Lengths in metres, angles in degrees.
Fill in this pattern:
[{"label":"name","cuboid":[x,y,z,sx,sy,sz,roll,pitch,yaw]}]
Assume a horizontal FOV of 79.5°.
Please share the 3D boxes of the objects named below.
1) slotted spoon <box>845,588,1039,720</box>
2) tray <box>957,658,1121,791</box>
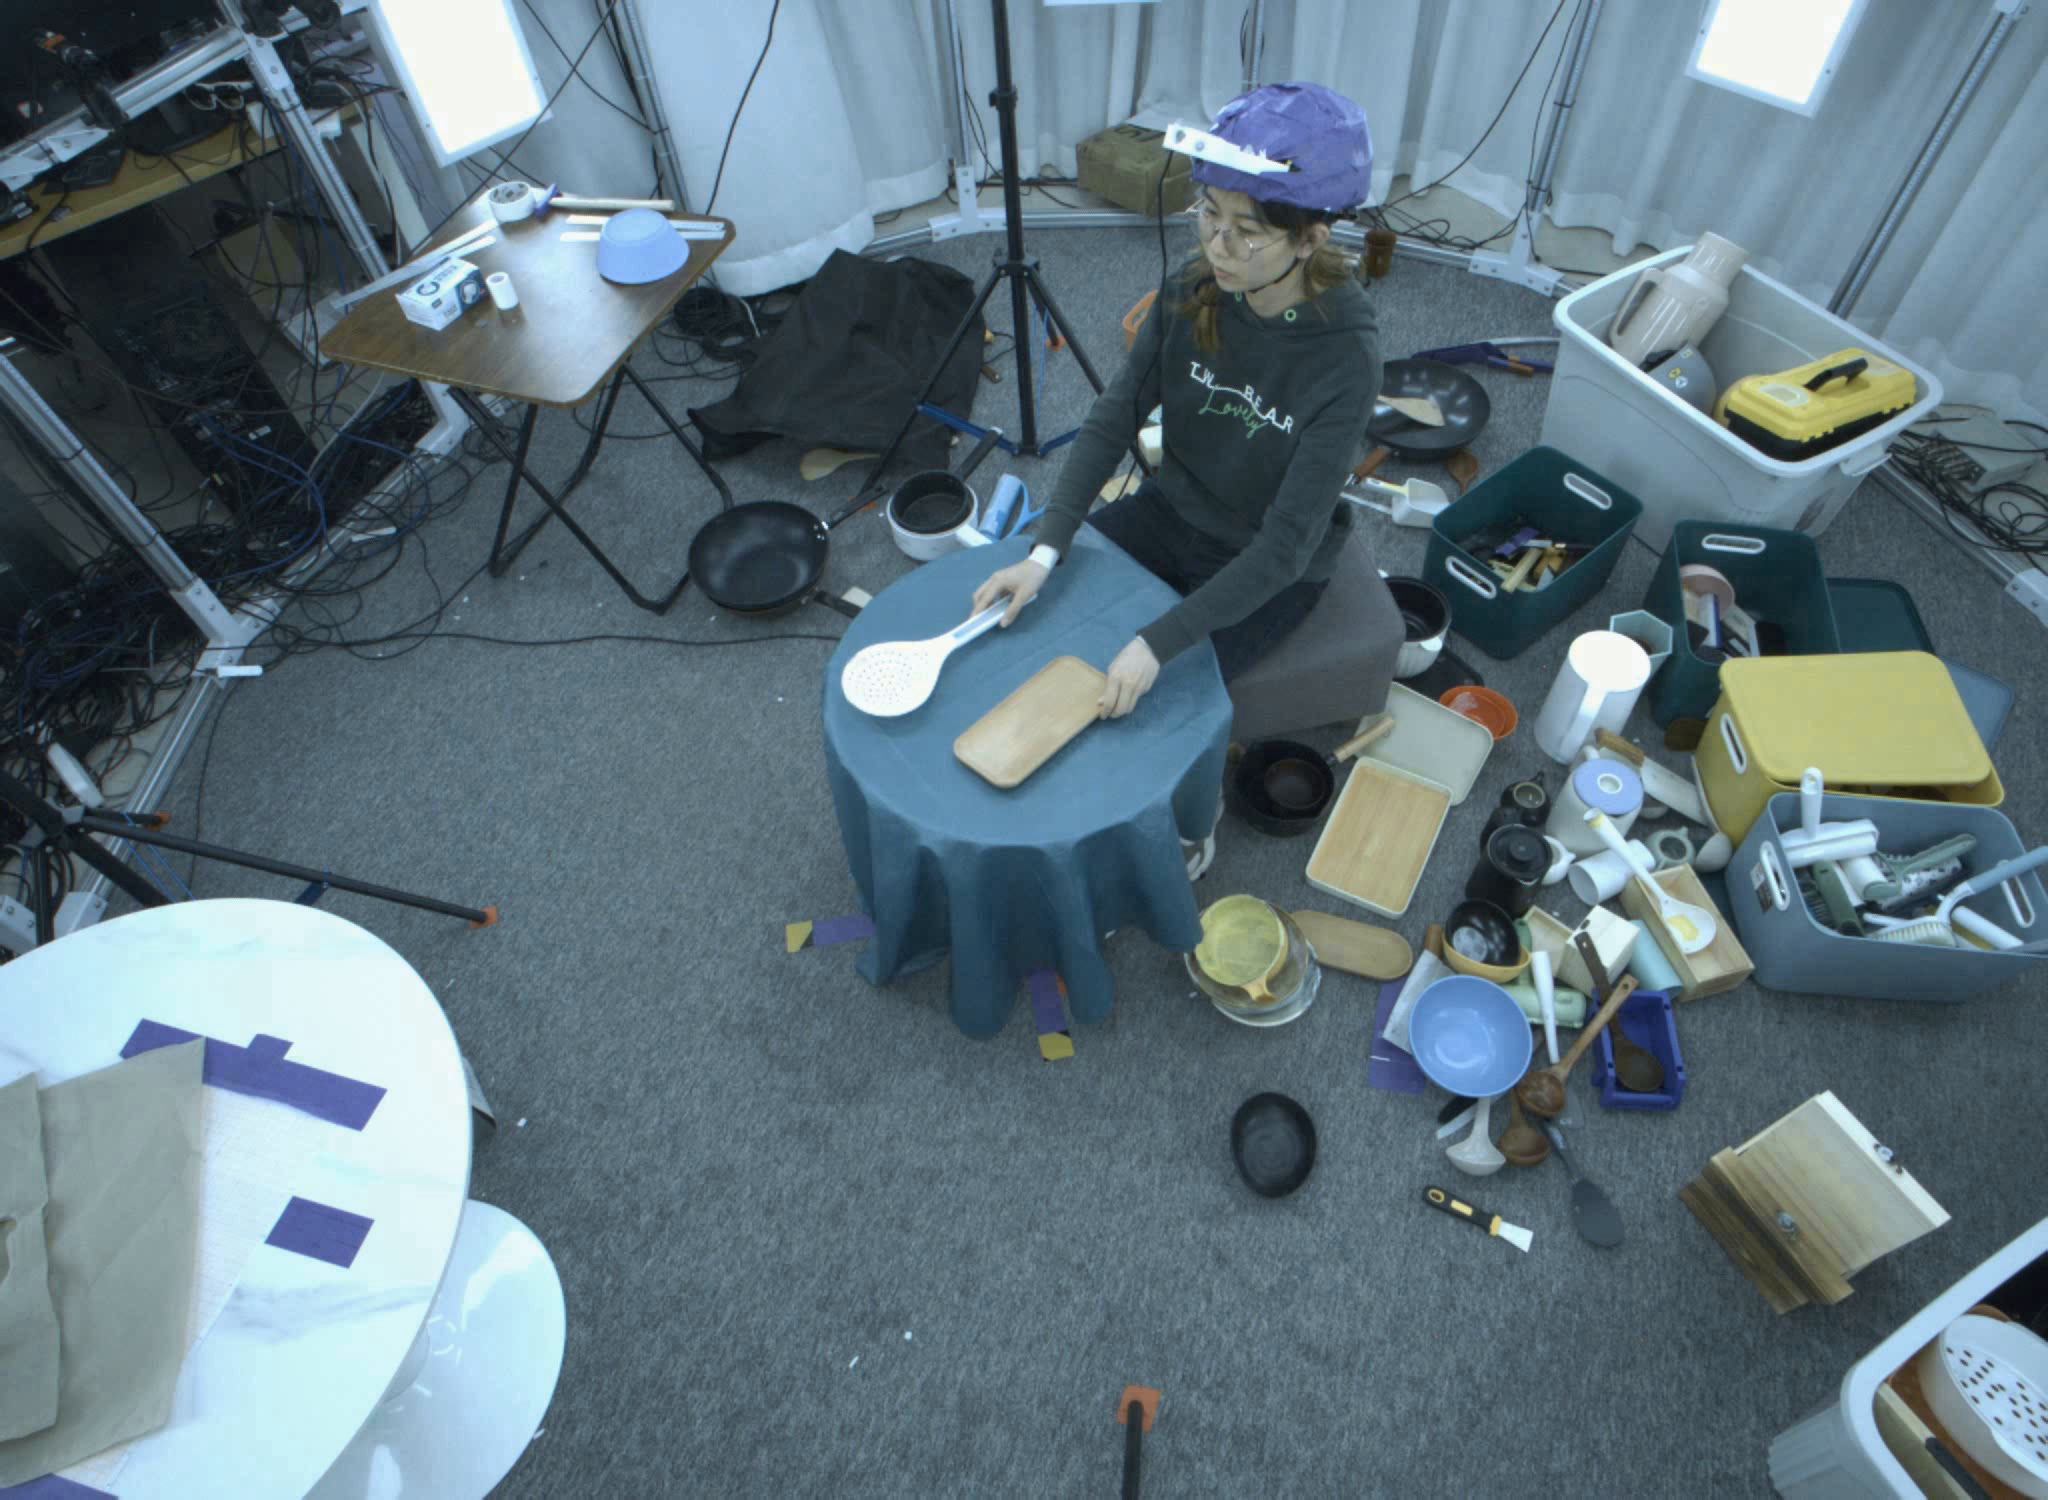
[{"label":"slotted spoon","cuboid":[-0.118,-0.155,1.875,0.352,0.046,0.134,-37,67,-19]},{"label":"tray","cuboid":[0.023,-0.040,1.808,0.128,0.023,0.252,36,62,28]}]
